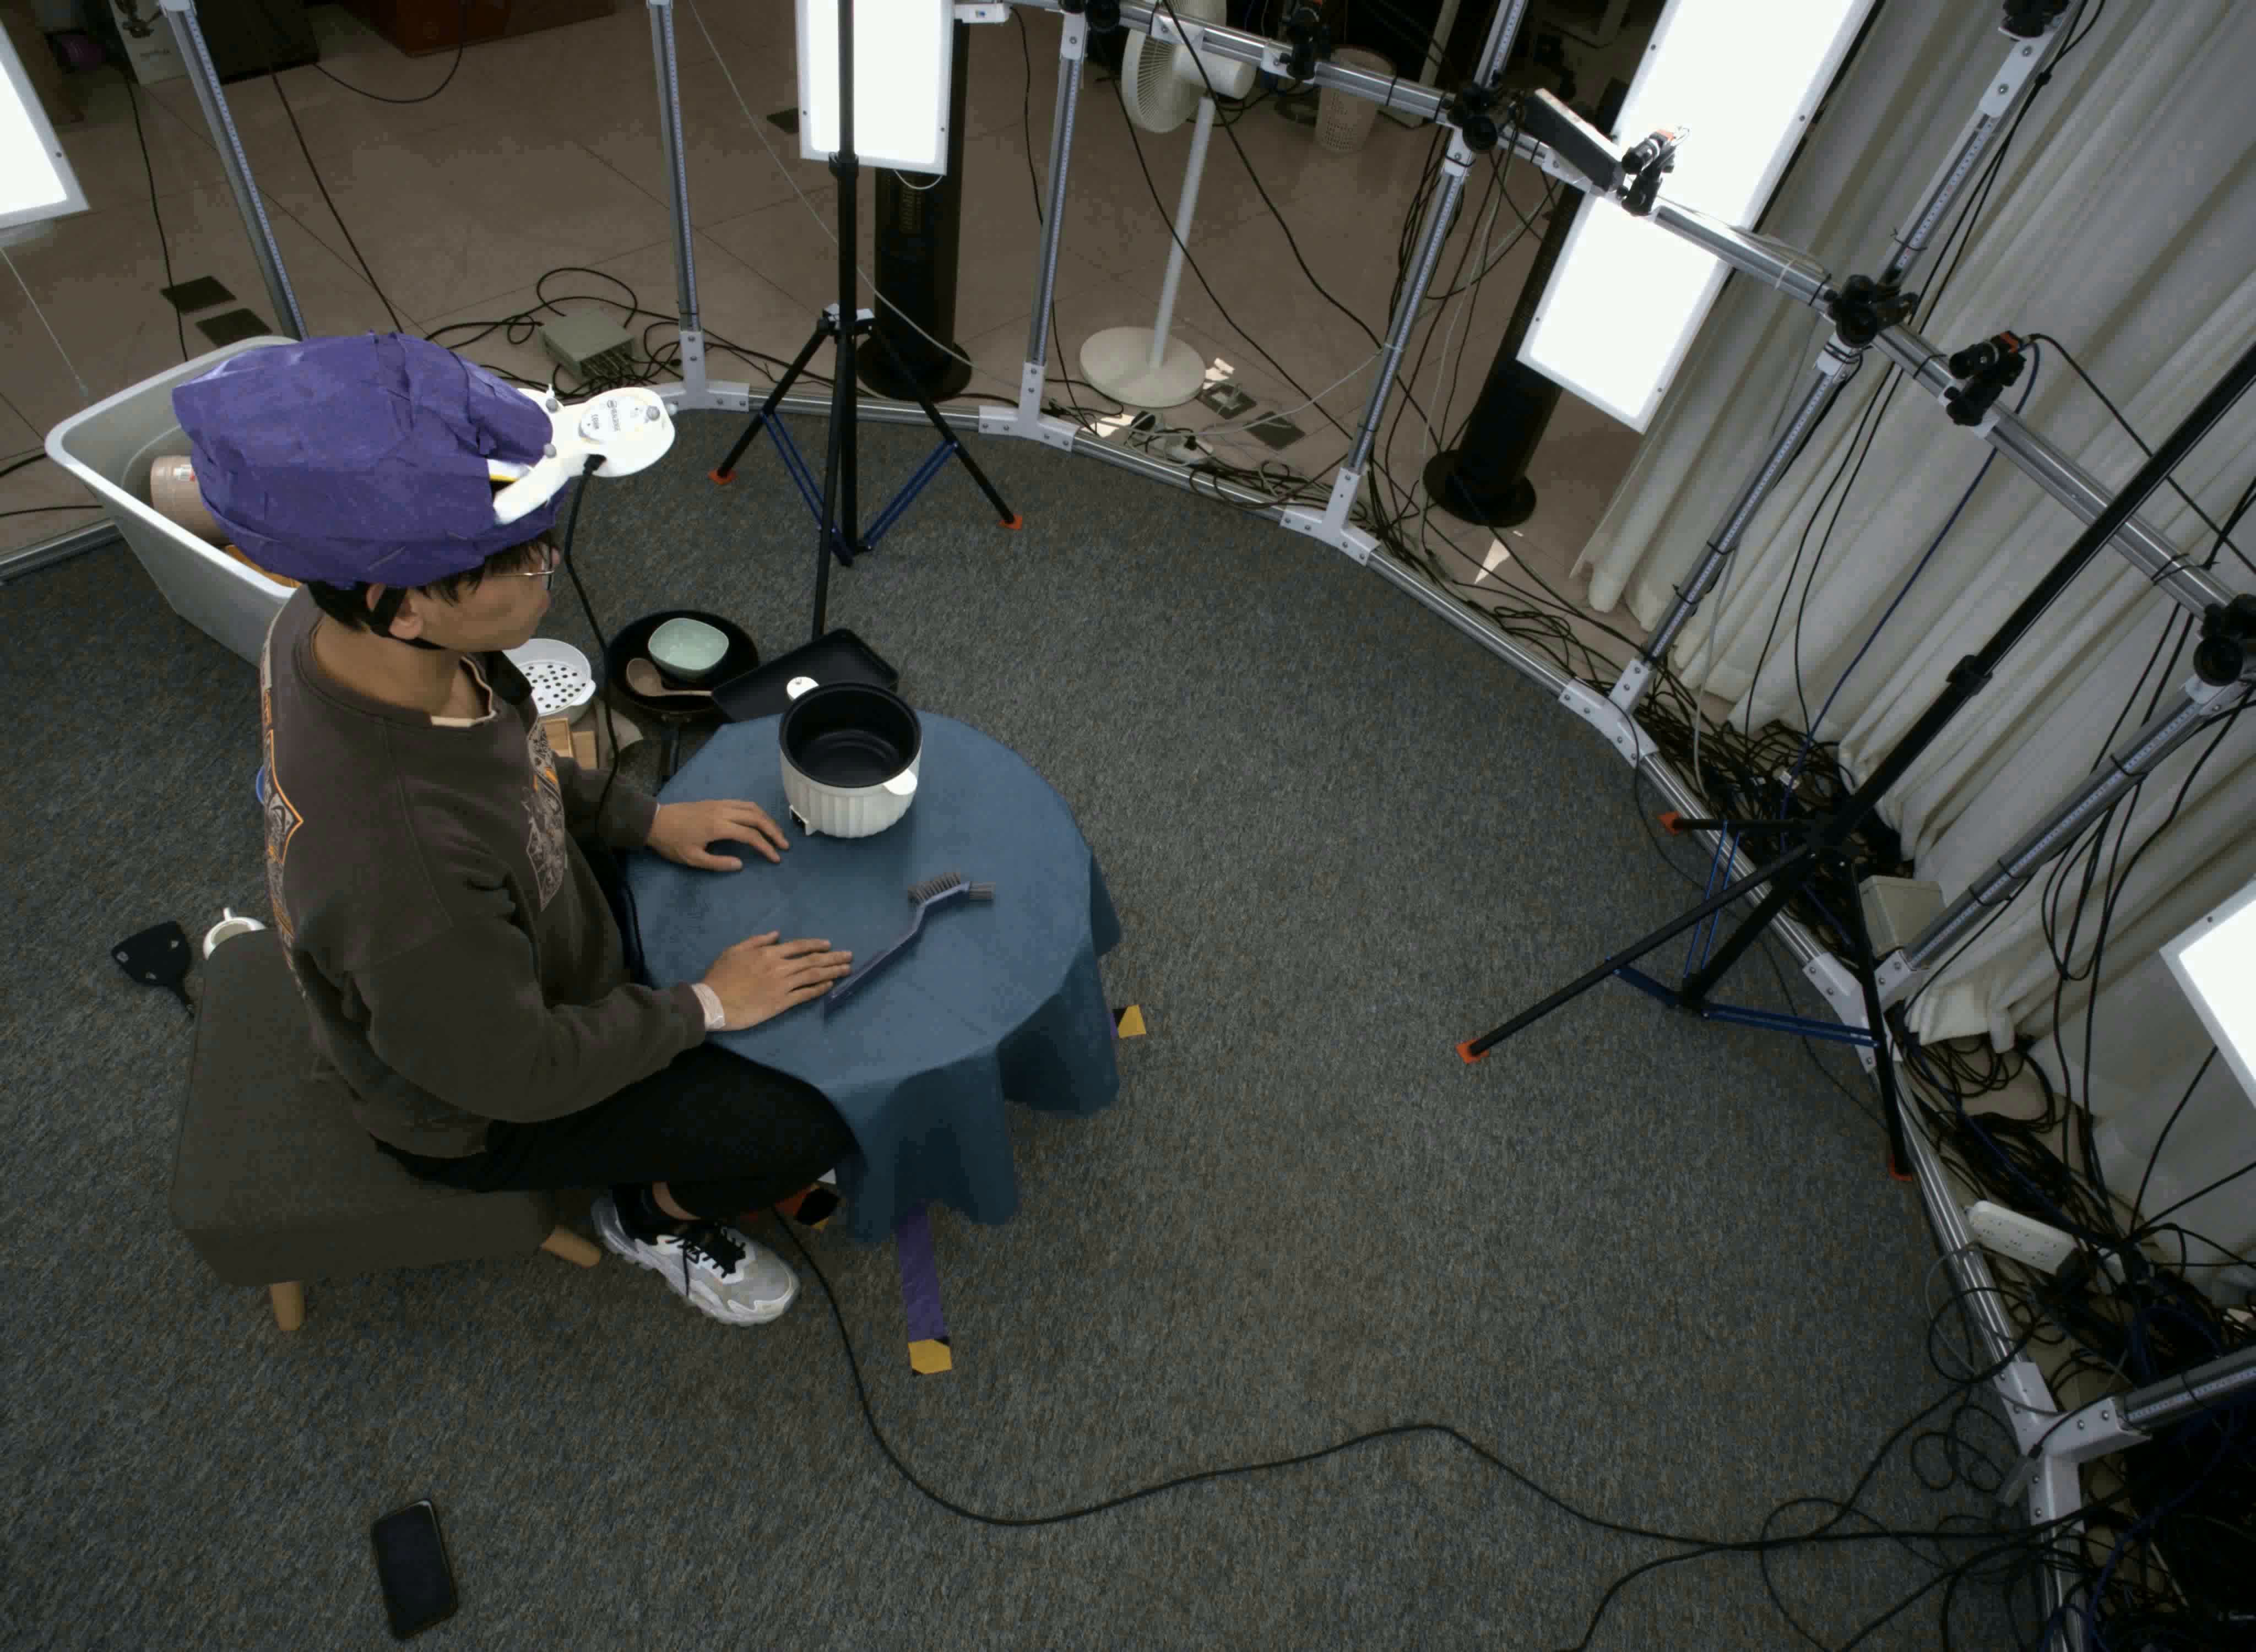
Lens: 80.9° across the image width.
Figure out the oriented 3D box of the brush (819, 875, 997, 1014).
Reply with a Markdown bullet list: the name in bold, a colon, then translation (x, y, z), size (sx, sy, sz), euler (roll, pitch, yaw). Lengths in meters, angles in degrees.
- **brush**: translation (-0.278, 0.150, 1.644), size (0.094, 0.034, 0.272), euler (32, 52, 10)

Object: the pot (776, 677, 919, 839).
- **pot**: translation (-0.365, -0.085, 1.726), size (0.235, 0.145, 0.191), euler (41, 60, 17)
